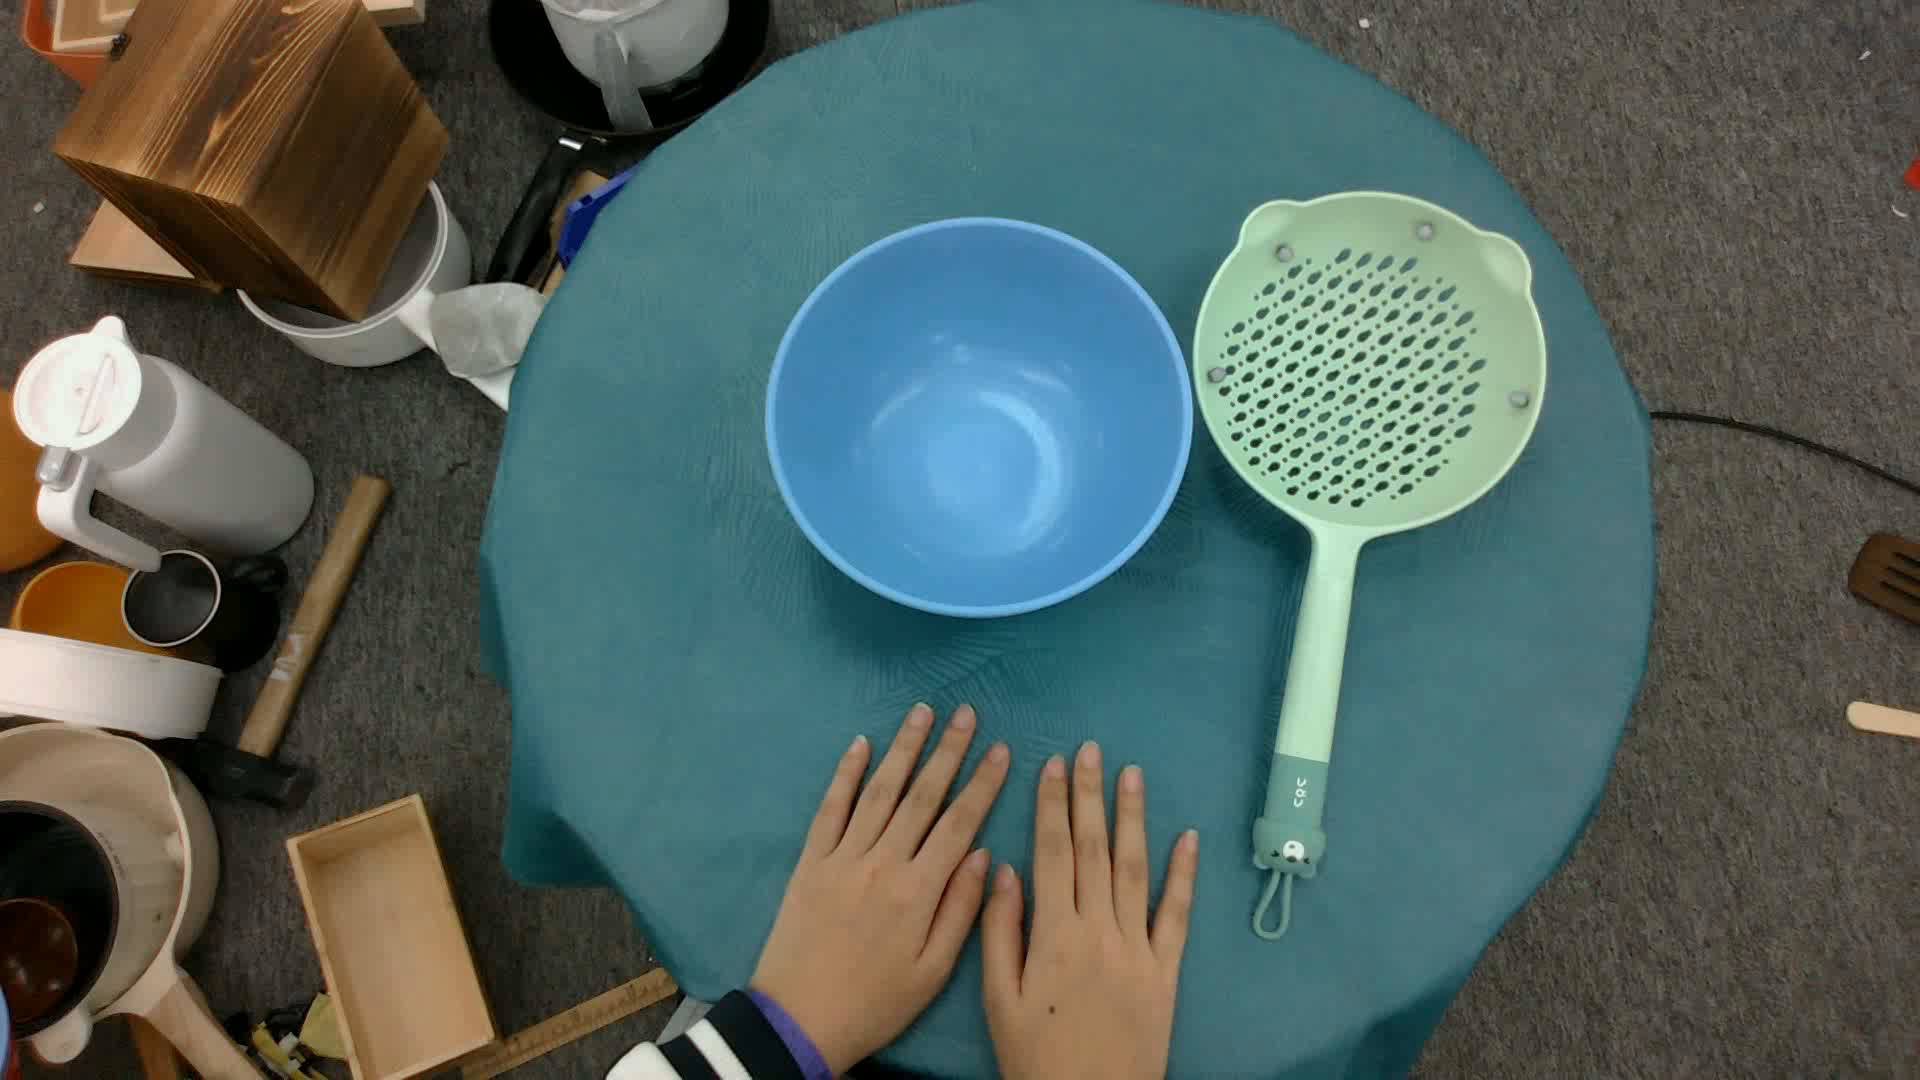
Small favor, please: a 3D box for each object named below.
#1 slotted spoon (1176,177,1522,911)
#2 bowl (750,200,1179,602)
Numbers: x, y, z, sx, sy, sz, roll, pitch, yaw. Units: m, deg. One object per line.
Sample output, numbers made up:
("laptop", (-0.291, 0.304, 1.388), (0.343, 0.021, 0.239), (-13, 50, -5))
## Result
("slotted spoon", (0.173, 0.000, 0.675), (0.169, 0.075, 0.359), (10, 76, 4))
("bowl", (0.002, -0.055, 0.672), (0.196, 0.095, 0.197), (0, 74, 0))
